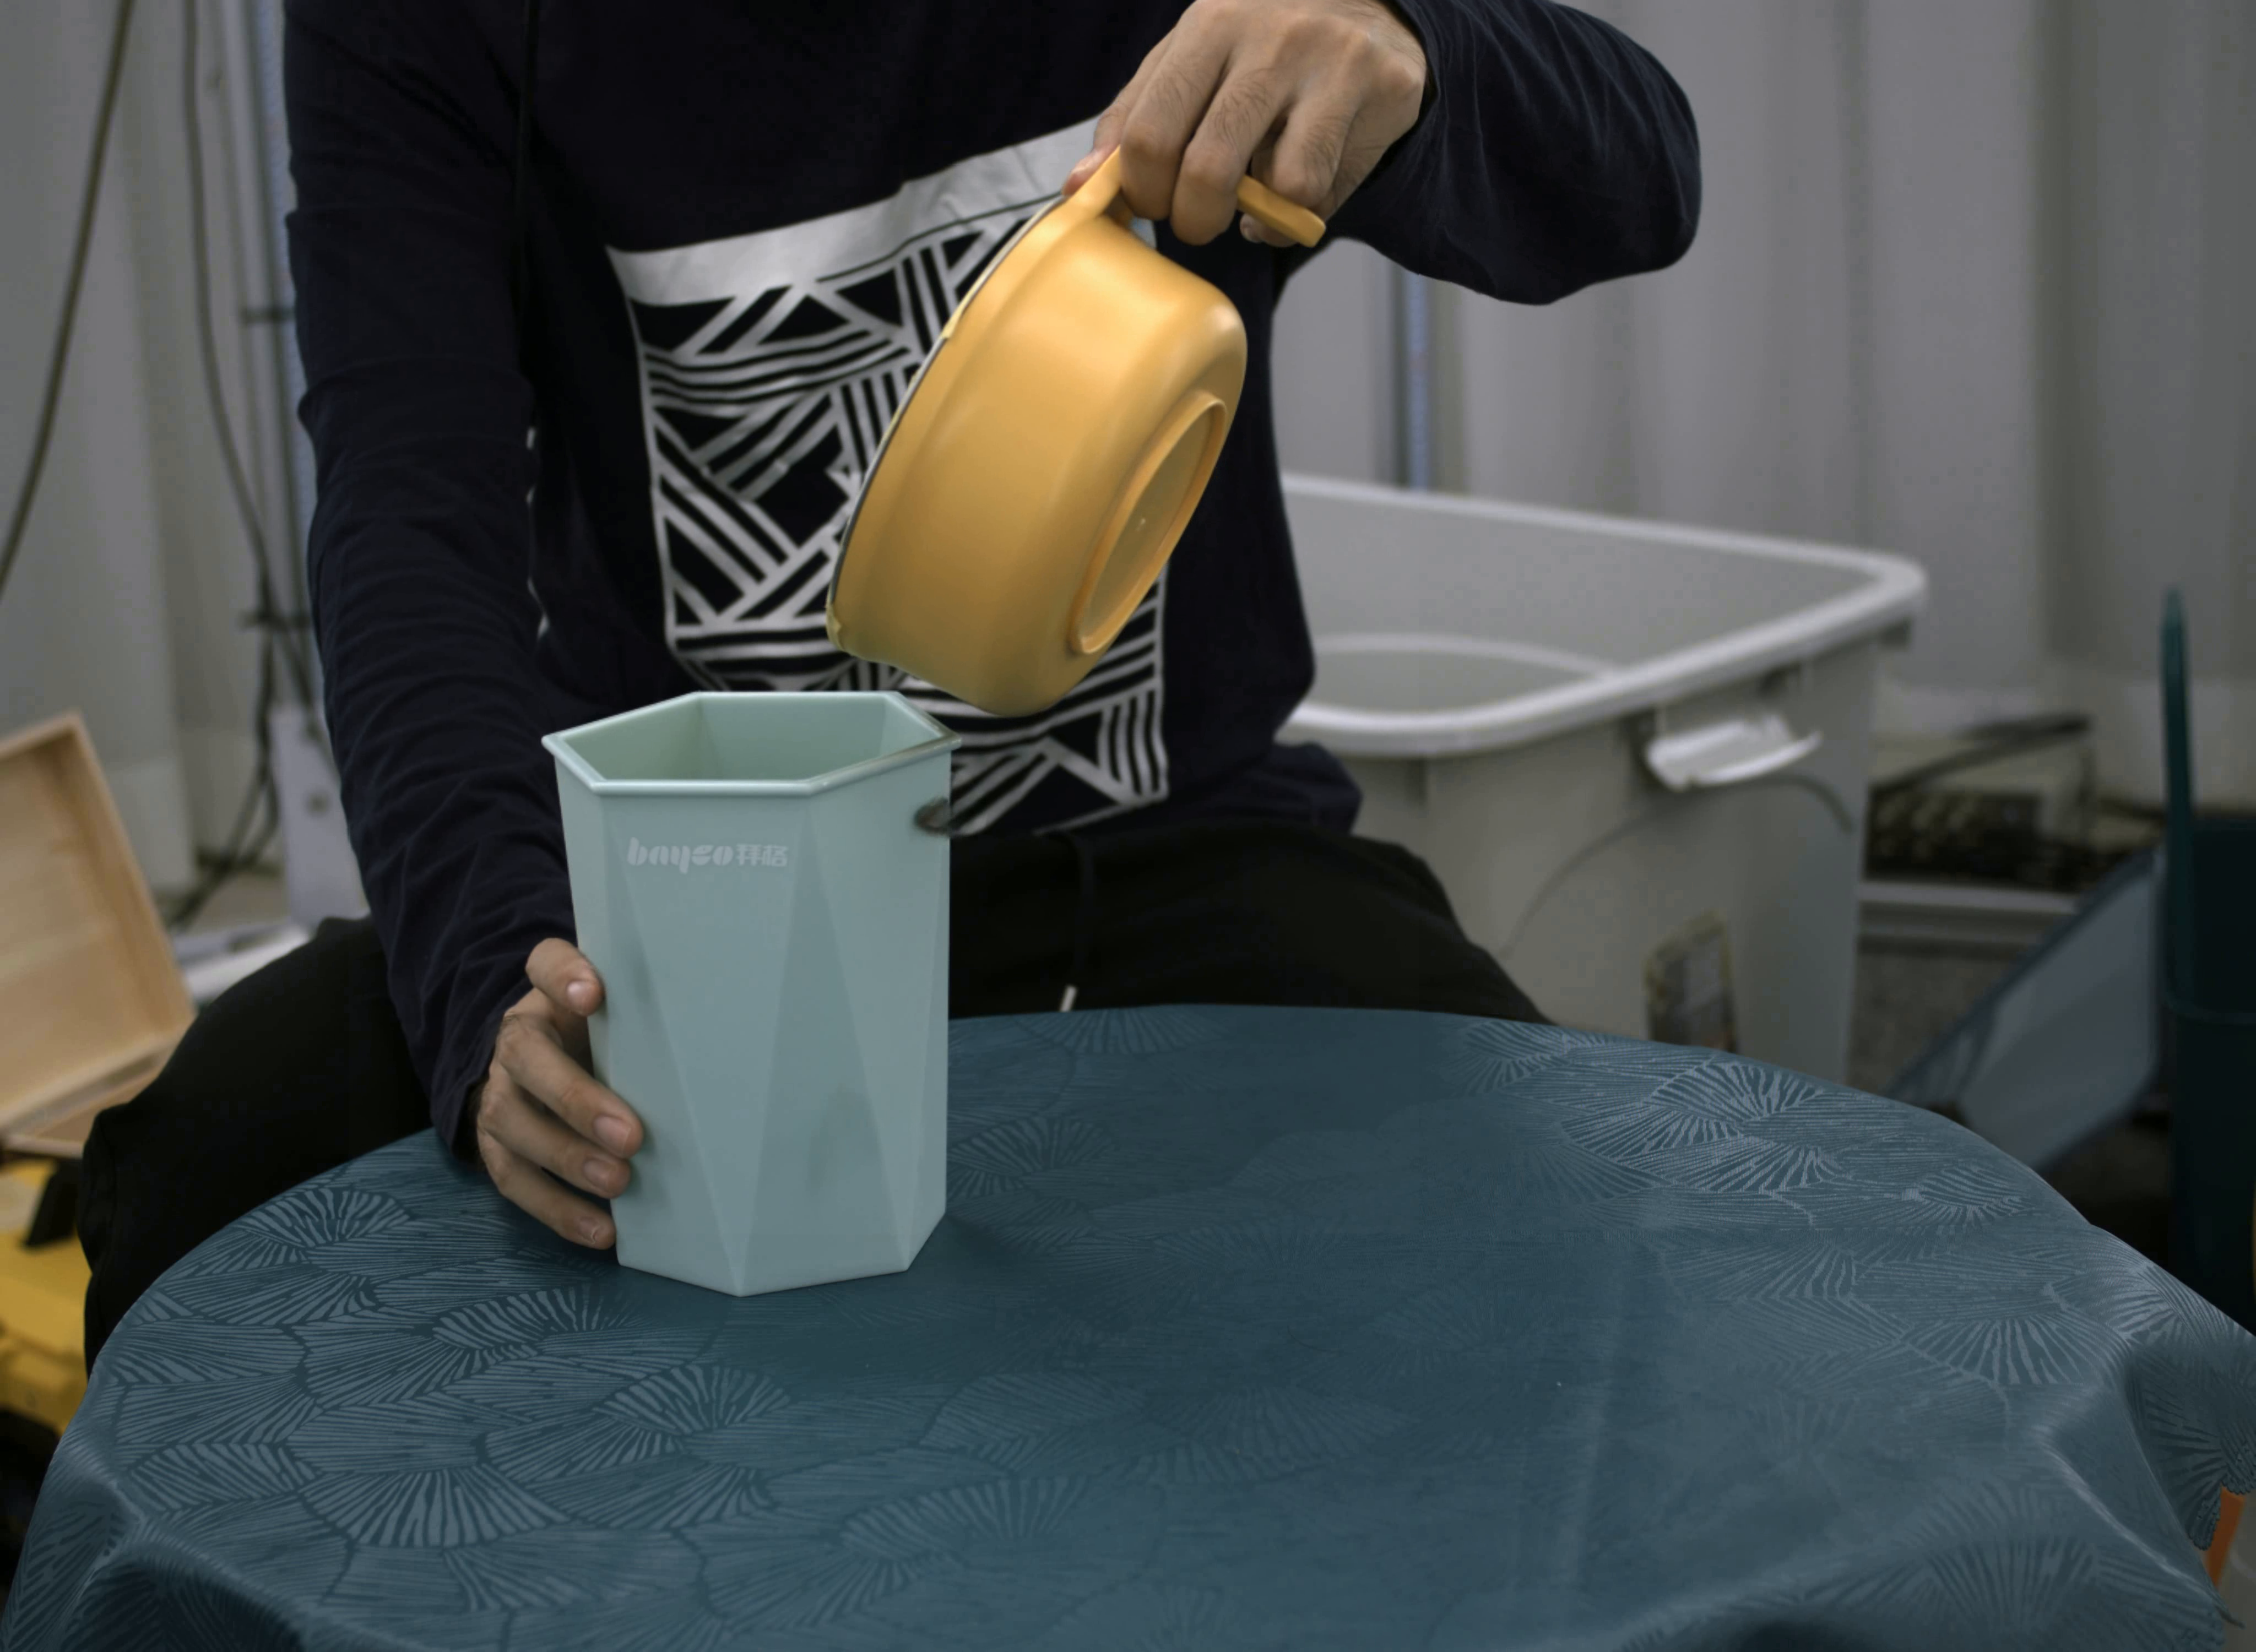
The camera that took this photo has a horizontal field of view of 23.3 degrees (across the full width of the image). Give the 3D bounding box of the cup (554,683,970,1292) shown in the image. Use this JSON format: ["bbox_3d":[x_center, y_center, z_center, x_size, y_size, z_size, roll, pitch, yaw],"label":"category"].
[{"bbox_3d":[-0.108,0.049,1.667,0.131,0.162,0.116,1,13,10],"label":"cup"}]

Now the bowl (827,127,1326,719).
[{"bbox_3d":[-0.015,-0.116,1.610,0.074,0.180,0.152,28,-4,14],"label":"bowl"}]
